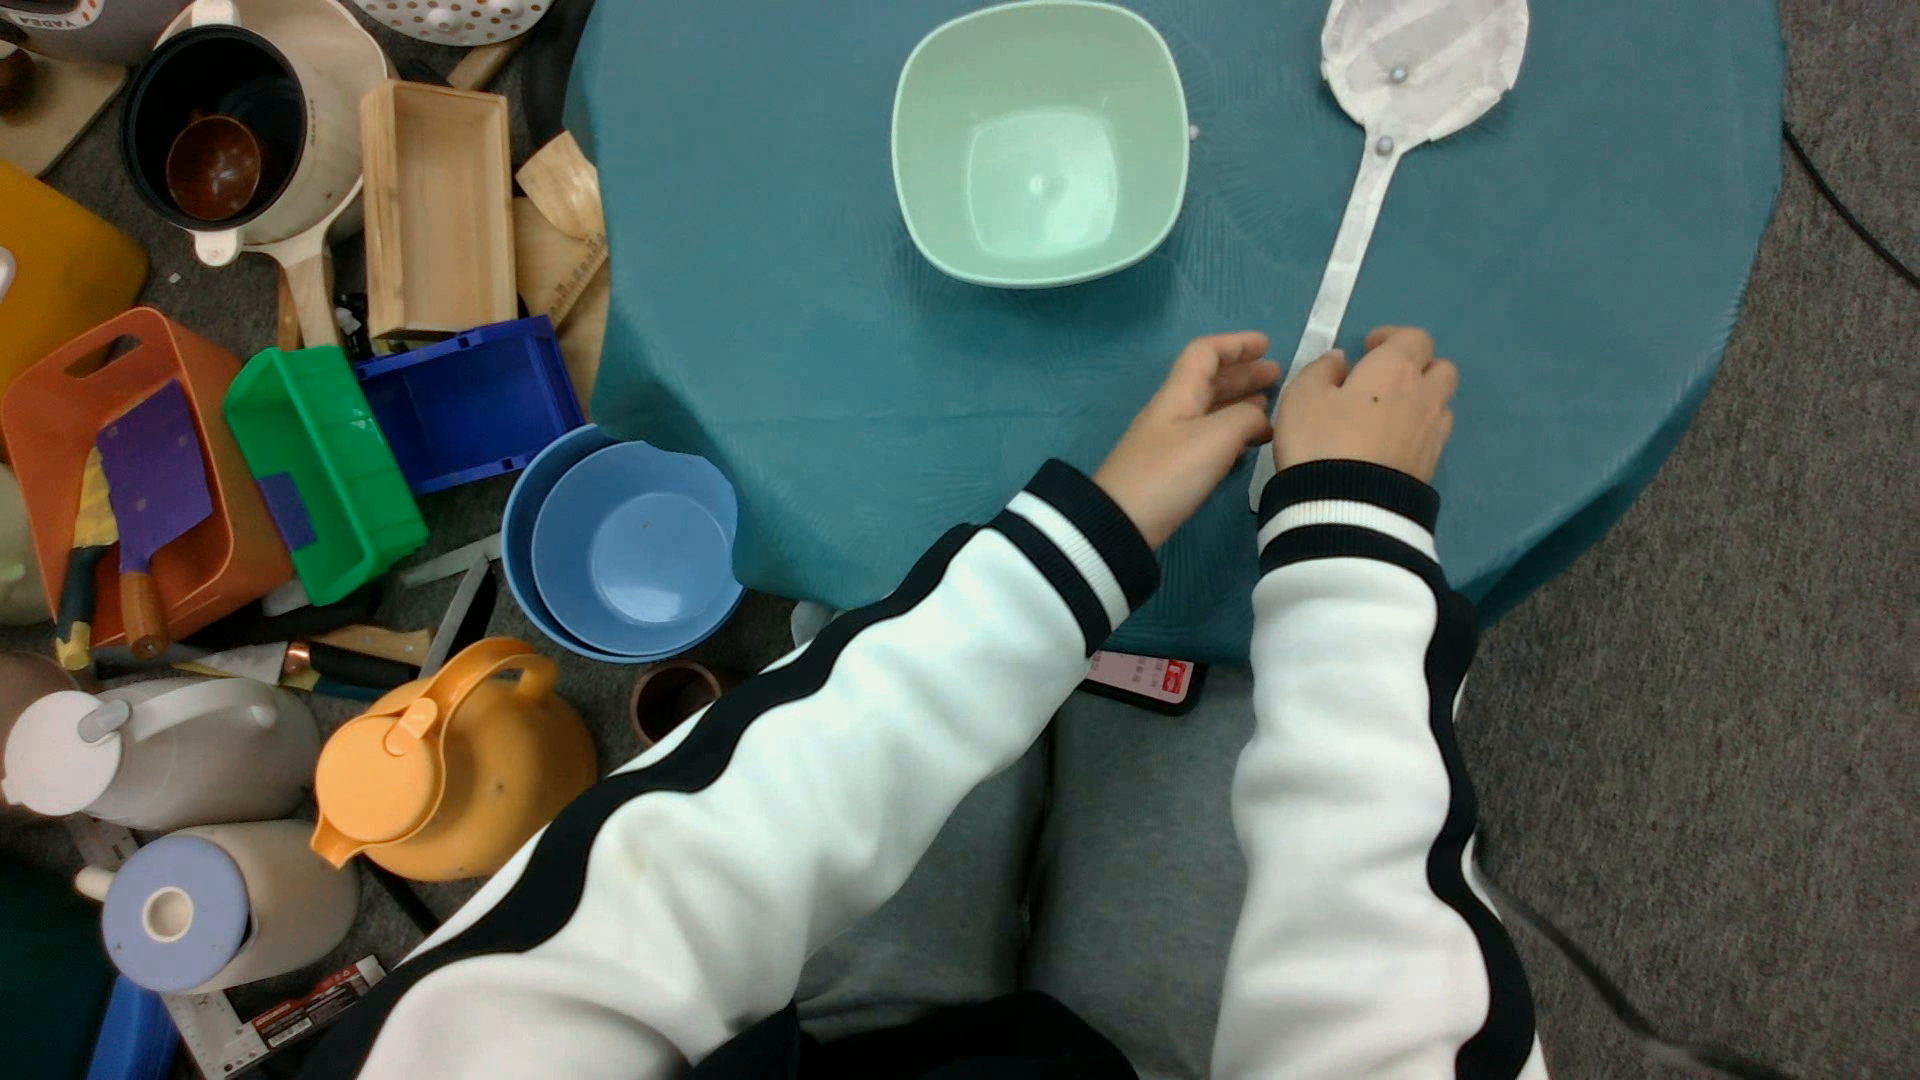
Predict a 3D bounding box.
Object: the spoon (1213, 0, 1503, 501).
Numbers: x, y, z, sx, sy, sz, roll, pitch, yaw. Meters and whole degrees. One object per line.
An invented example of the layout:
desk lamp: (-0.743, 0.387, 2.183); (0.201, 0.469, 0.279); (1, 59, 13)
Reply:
spoon: (0.172, -0.152, 0.655); (0.100, 0.059, 0.278); (21, 83, 13)

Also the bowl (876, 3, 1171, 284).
bowl: (0.032, -0.184, 0.674); (0.151, 0.058, 0.151); (-1, 81, 4)
